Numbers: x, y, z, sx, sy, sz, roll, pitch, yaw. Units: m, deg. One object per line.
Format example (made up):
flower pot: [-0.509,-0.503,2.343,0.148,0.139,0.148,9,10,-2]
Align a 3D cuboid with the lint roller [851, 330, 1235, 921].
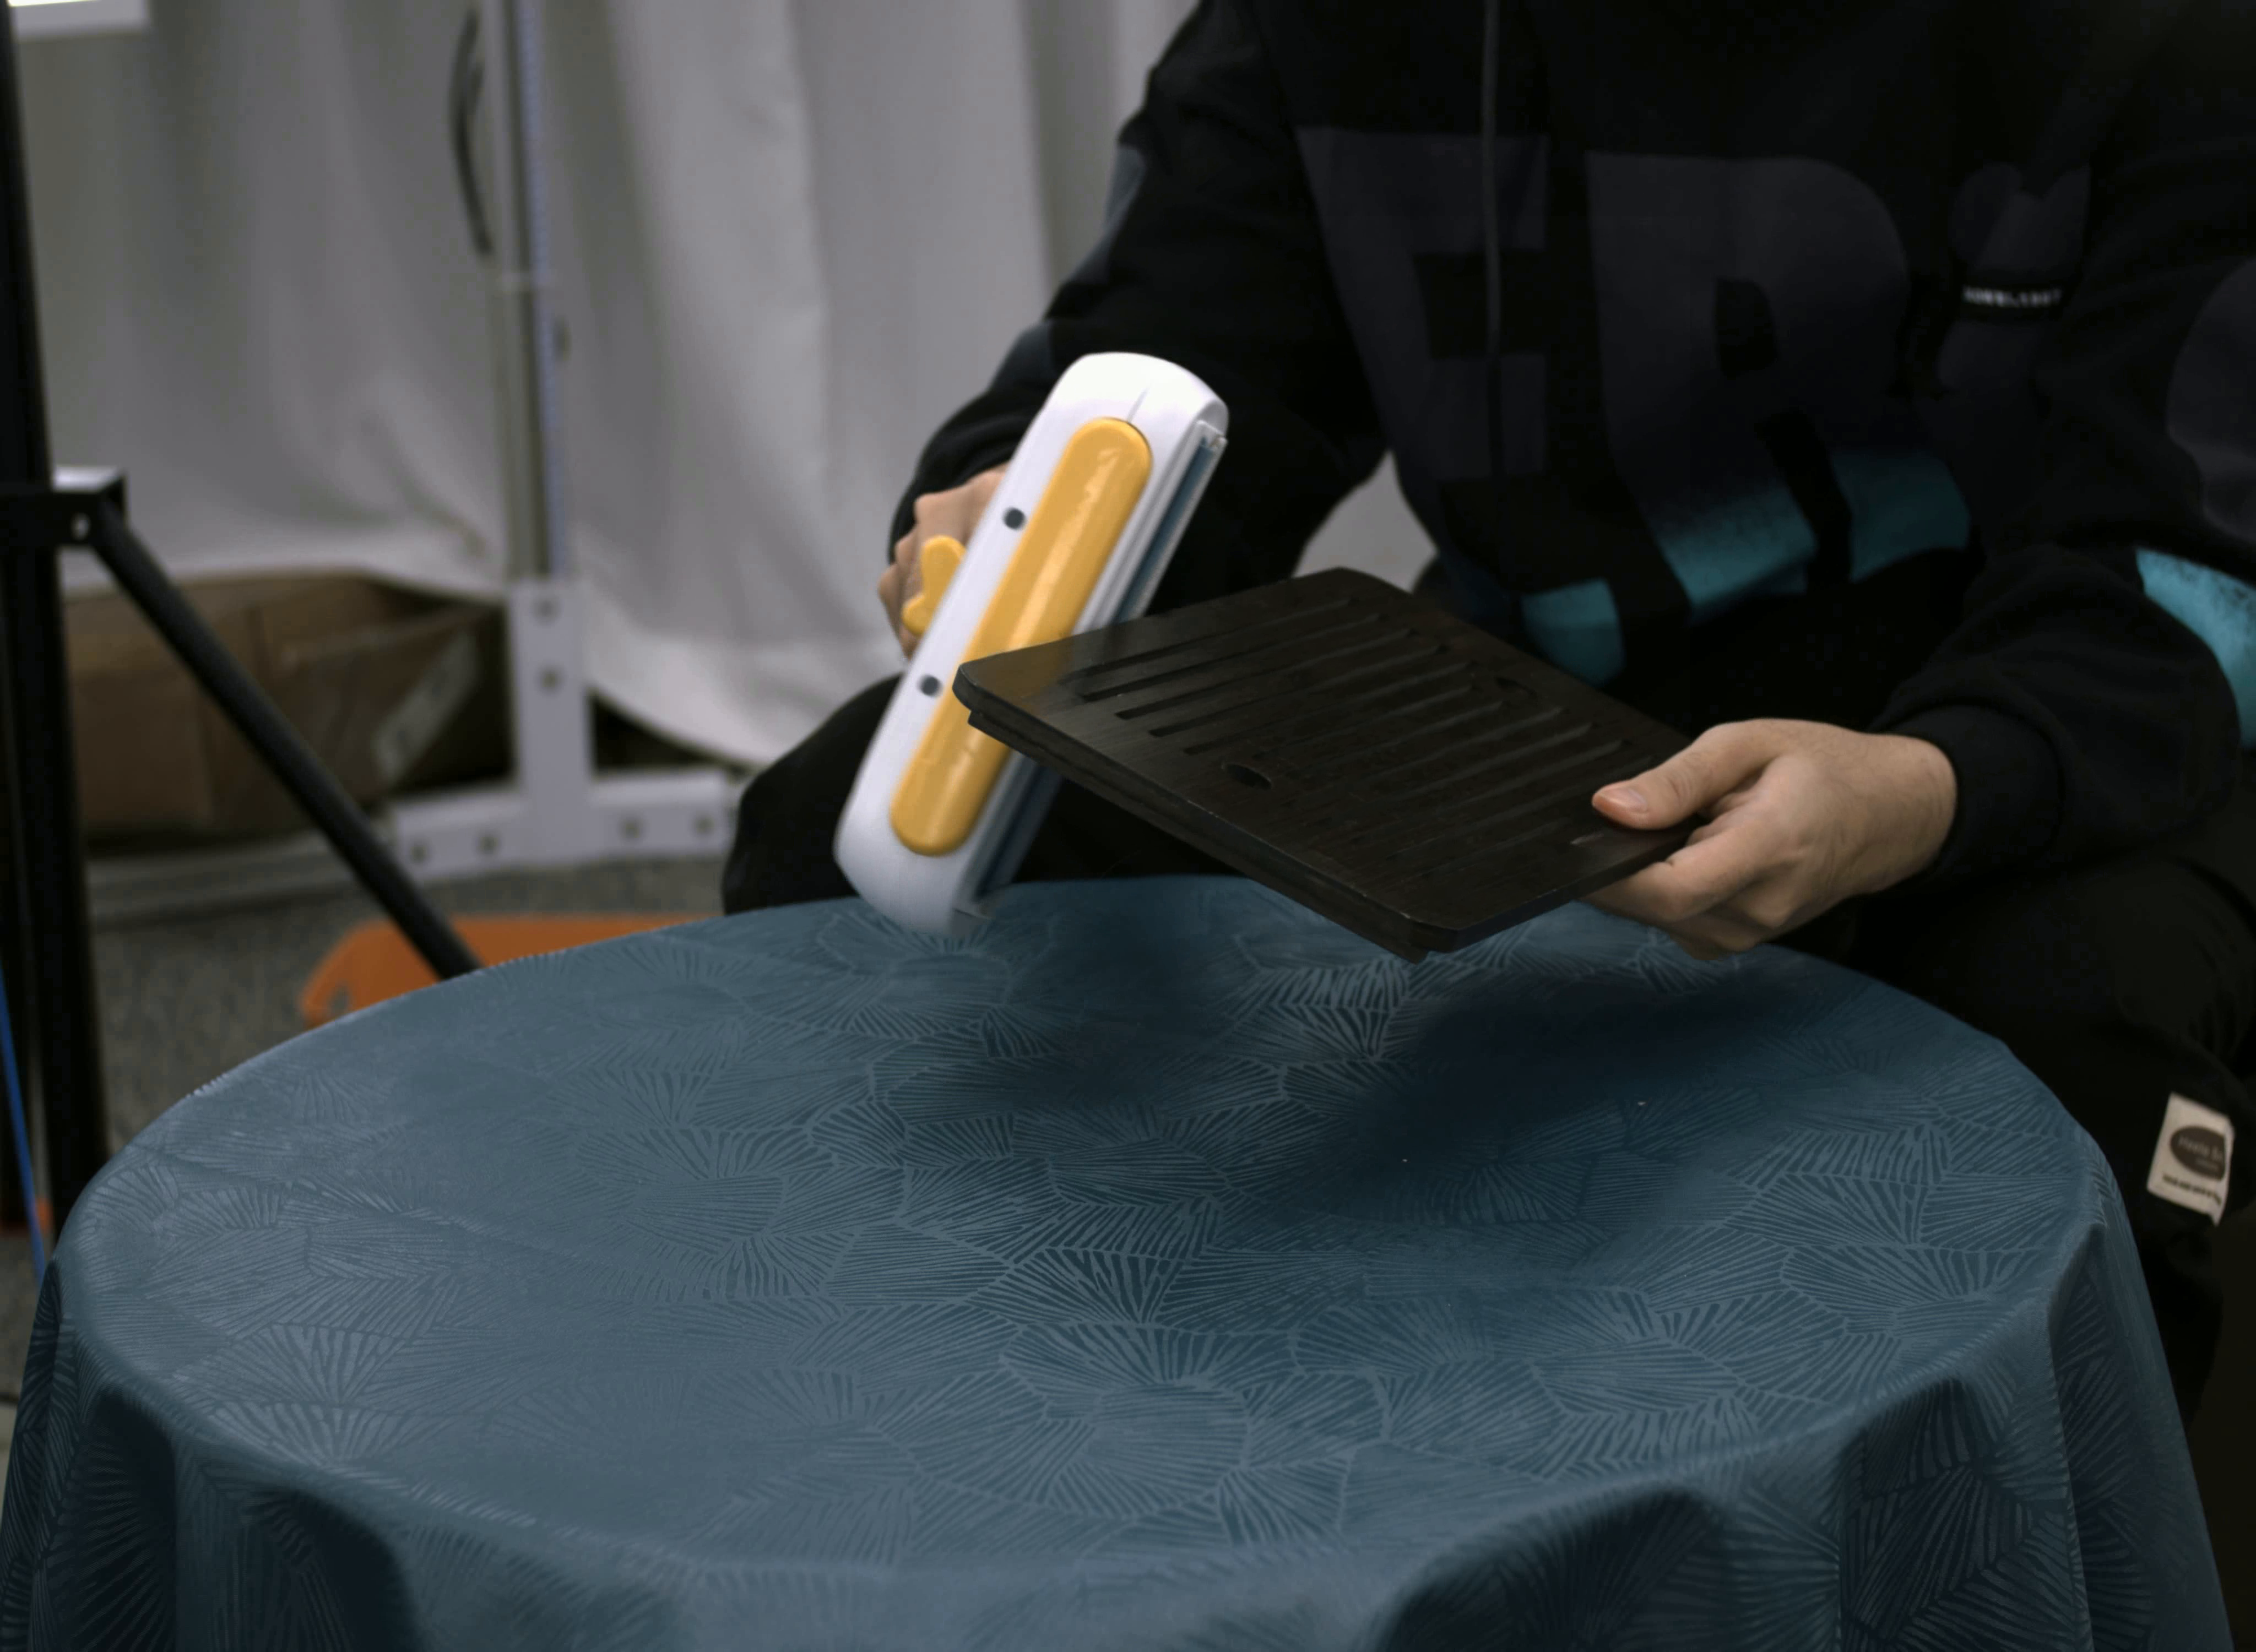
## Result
lint roller: [-0.031,-0.061,1.712,0.074,0.193,0.192,22,-4,3]

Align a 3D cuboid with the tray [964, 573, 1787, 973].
tray: [0.081,-0.020,1.621,0.172,0.019,0.300,28,19,20]
